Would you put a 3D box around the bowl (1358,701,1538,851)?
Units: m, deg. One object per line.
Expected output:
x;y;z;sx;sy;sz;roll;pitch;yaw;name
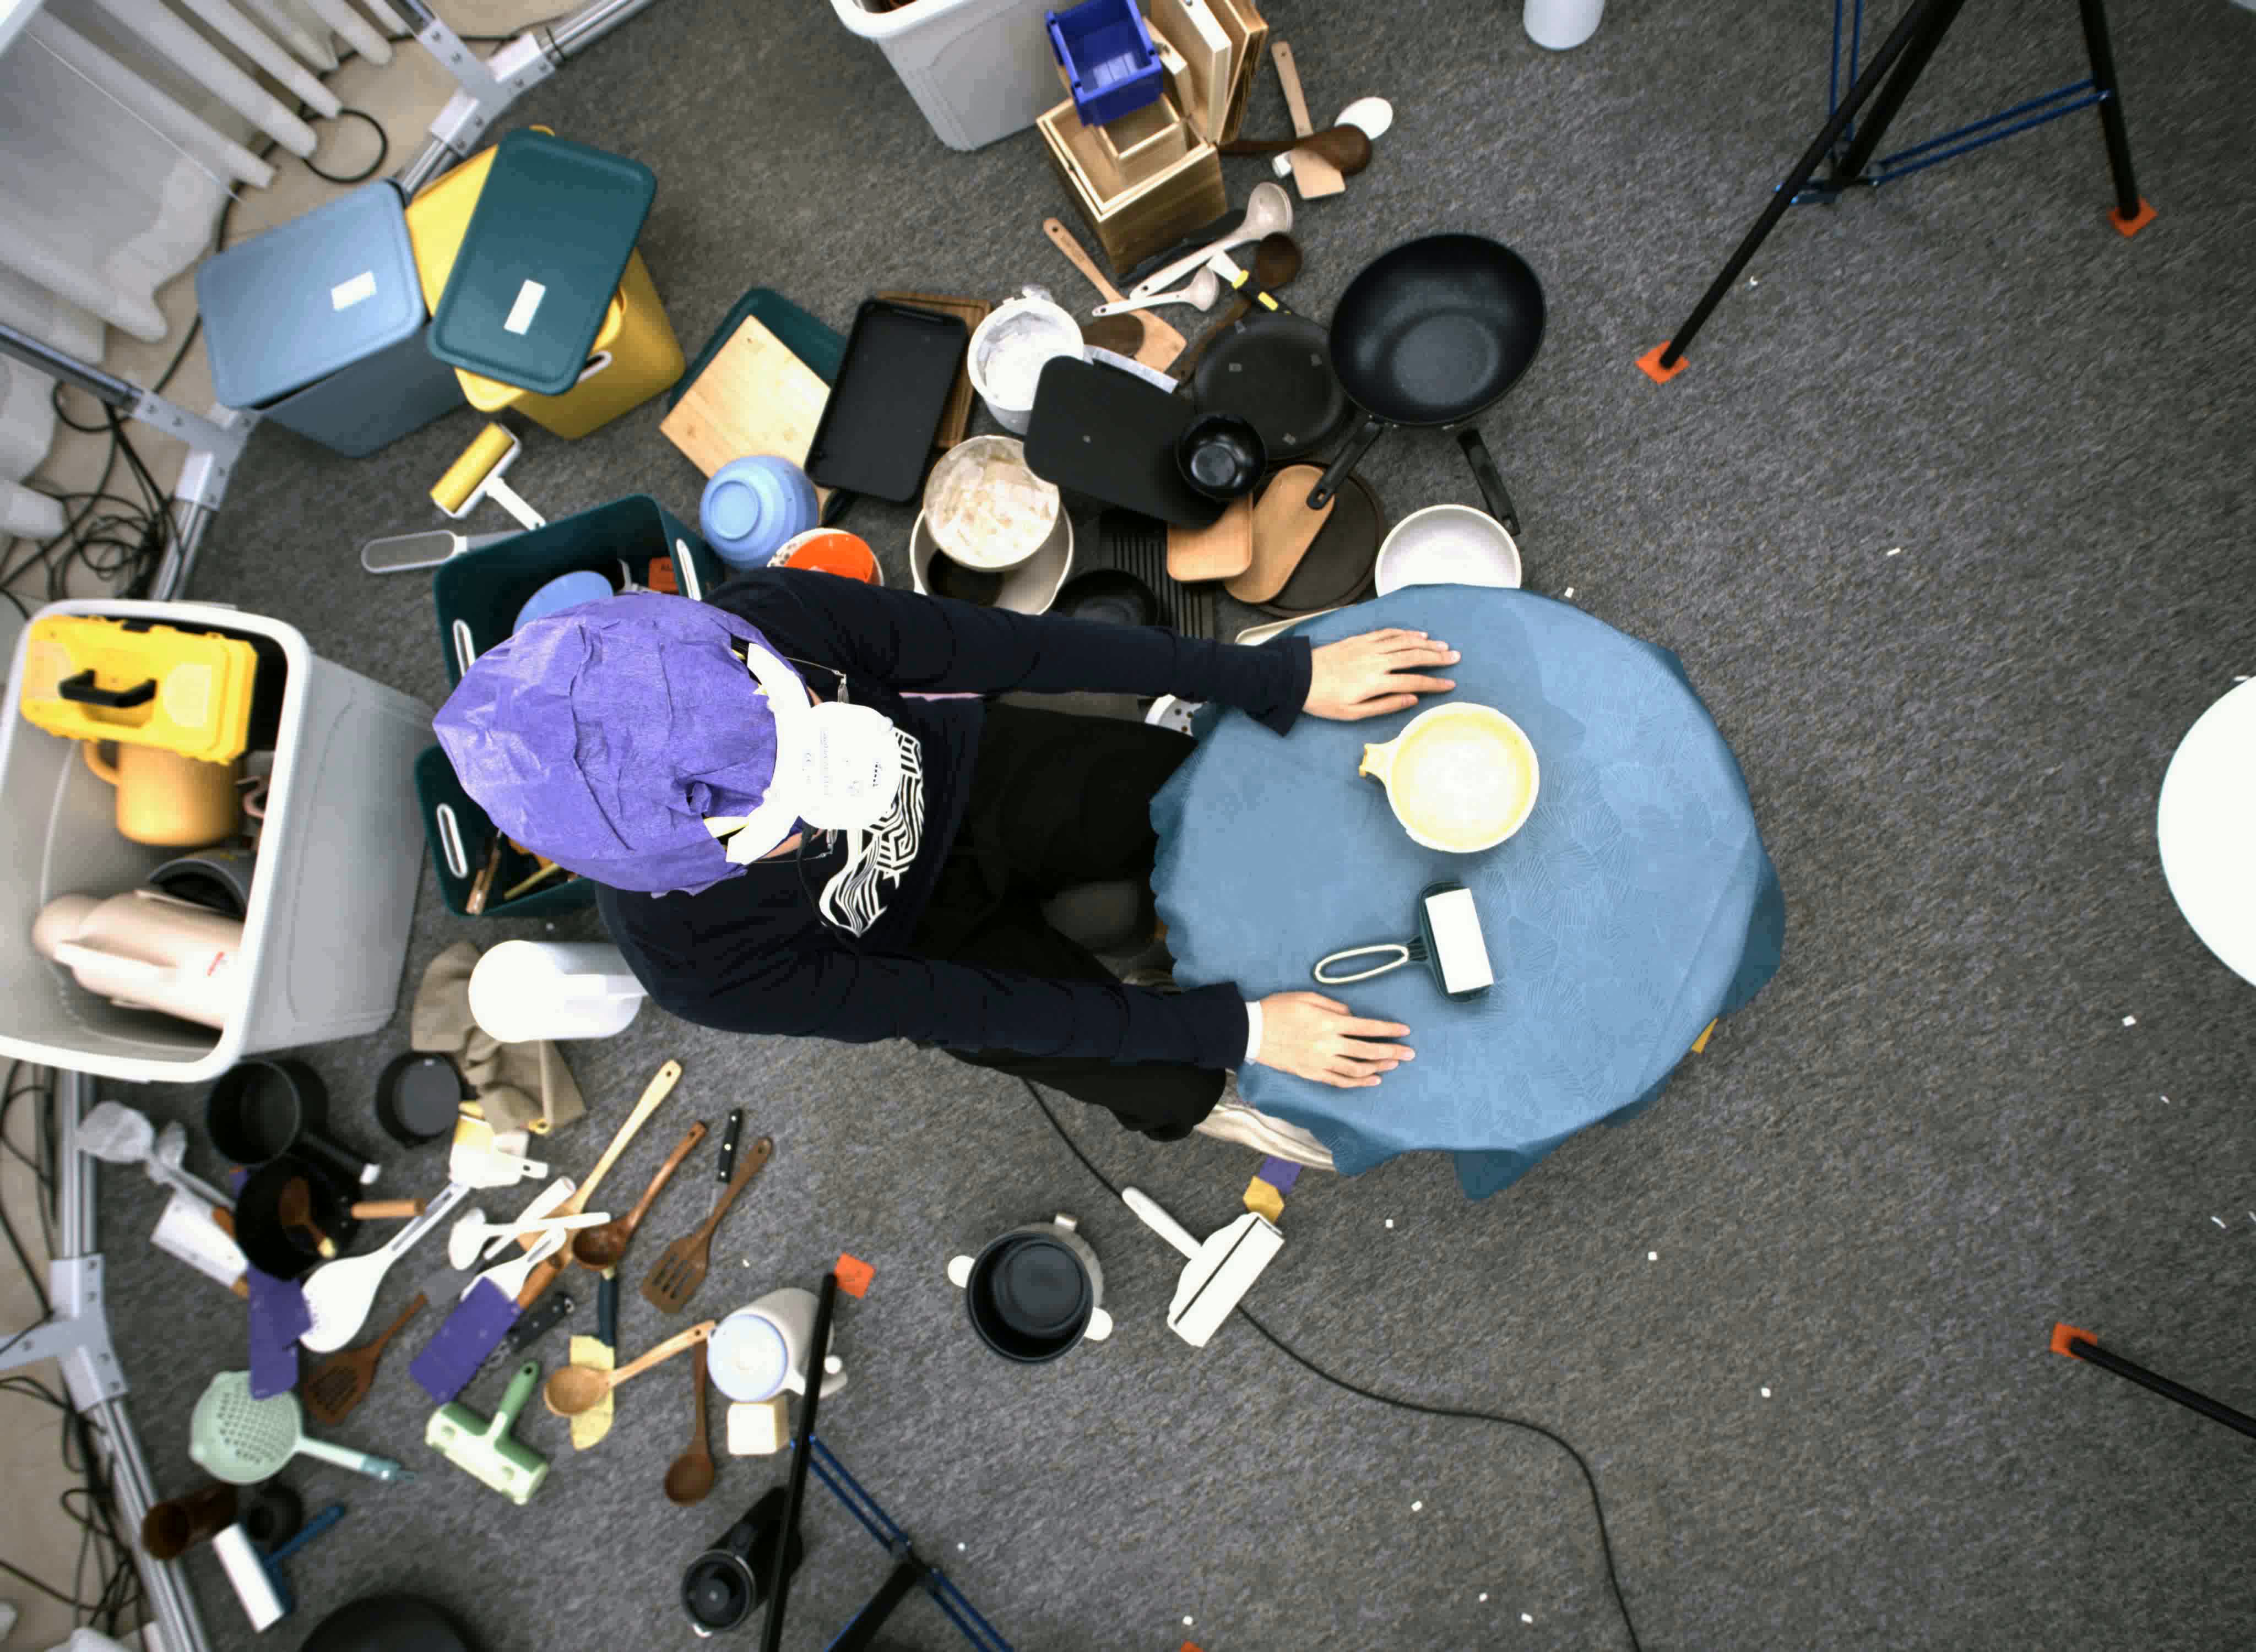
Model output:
0.329;-0.052;1.423;0.180;0.074;0.152;7;88;11;bowl

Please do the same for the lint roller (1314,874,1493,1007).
0.278;0.133;1.437;0.181;0.048;0.133;-15;84;15;lint roller
